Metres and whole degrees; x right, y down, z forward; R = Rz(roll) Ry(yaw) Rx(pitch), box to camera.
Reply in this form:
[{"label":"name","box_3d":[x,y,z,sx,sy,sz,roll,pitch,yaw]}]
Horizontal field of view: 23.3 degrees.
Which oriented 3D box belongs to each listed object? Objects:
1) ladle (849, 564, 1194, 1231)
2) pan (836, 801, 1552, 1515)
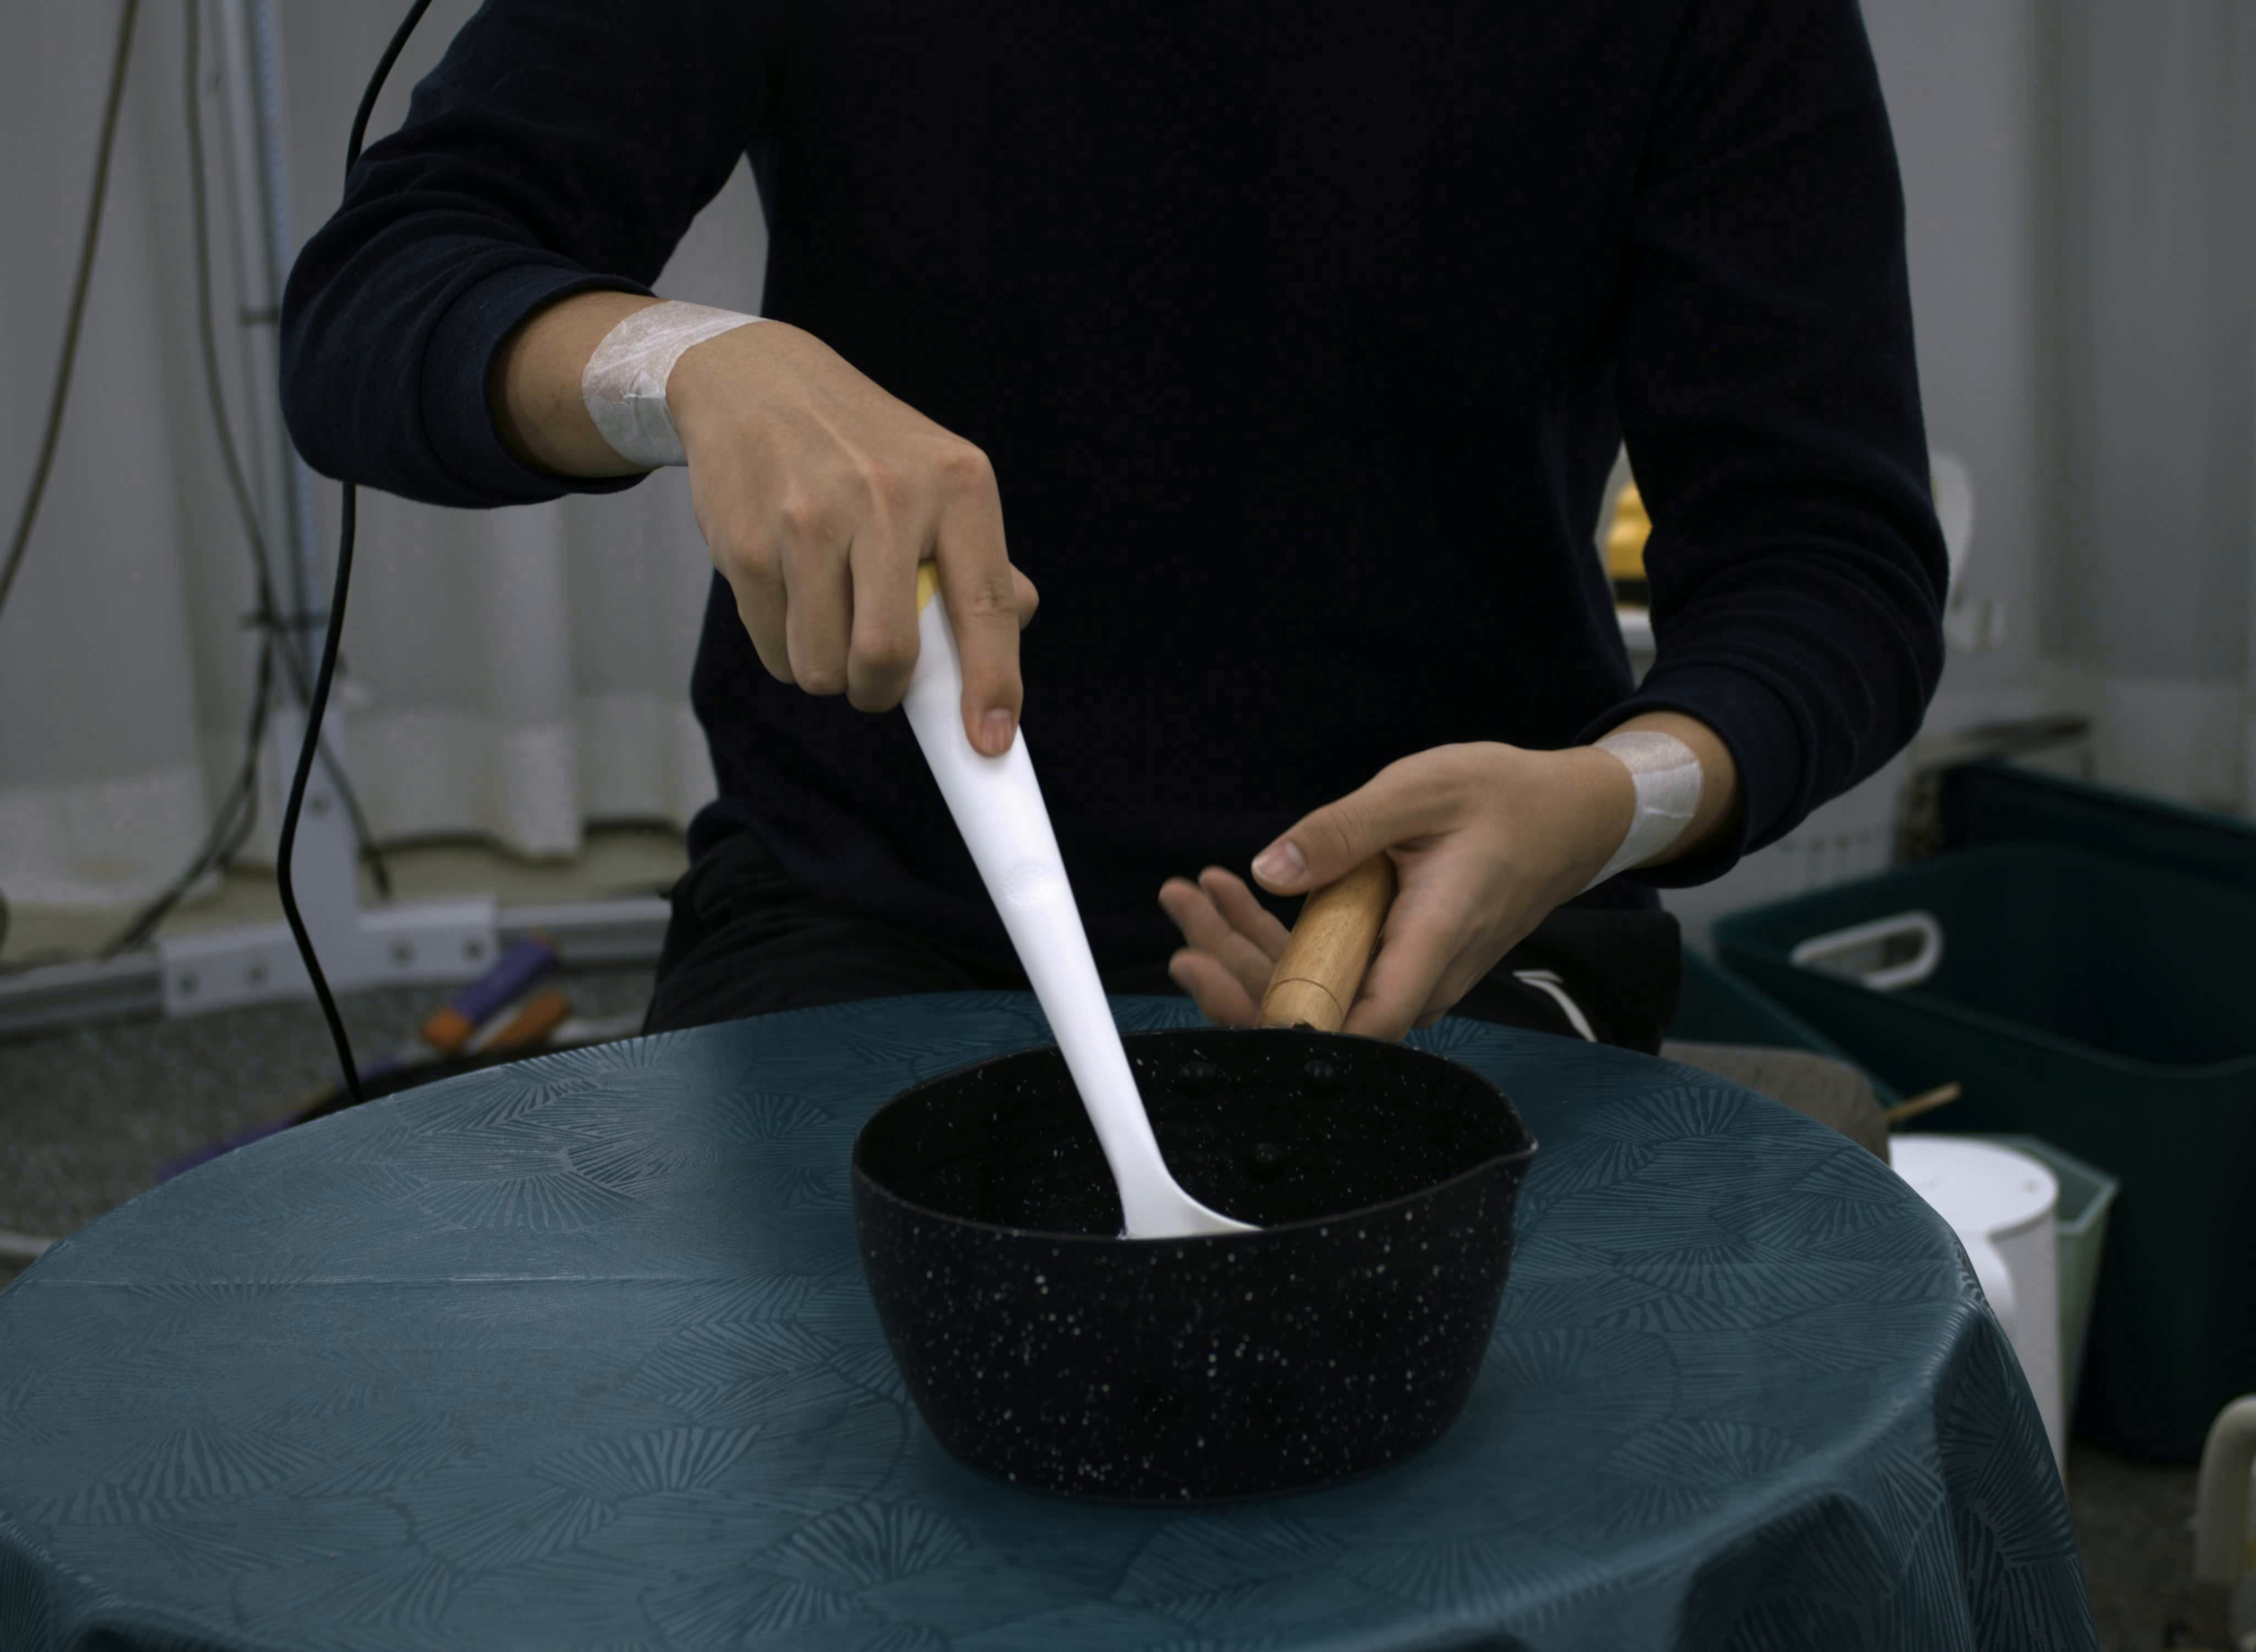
[{"label":"ladle","box_3d":[-0.026,0.047,1.551,0.090,0.297,0.069,-24,-26,6]},{"label":"pan","box_3d":[0.036,0.091,1.590,0.207,0.108,0.344,0,16,15]}]
